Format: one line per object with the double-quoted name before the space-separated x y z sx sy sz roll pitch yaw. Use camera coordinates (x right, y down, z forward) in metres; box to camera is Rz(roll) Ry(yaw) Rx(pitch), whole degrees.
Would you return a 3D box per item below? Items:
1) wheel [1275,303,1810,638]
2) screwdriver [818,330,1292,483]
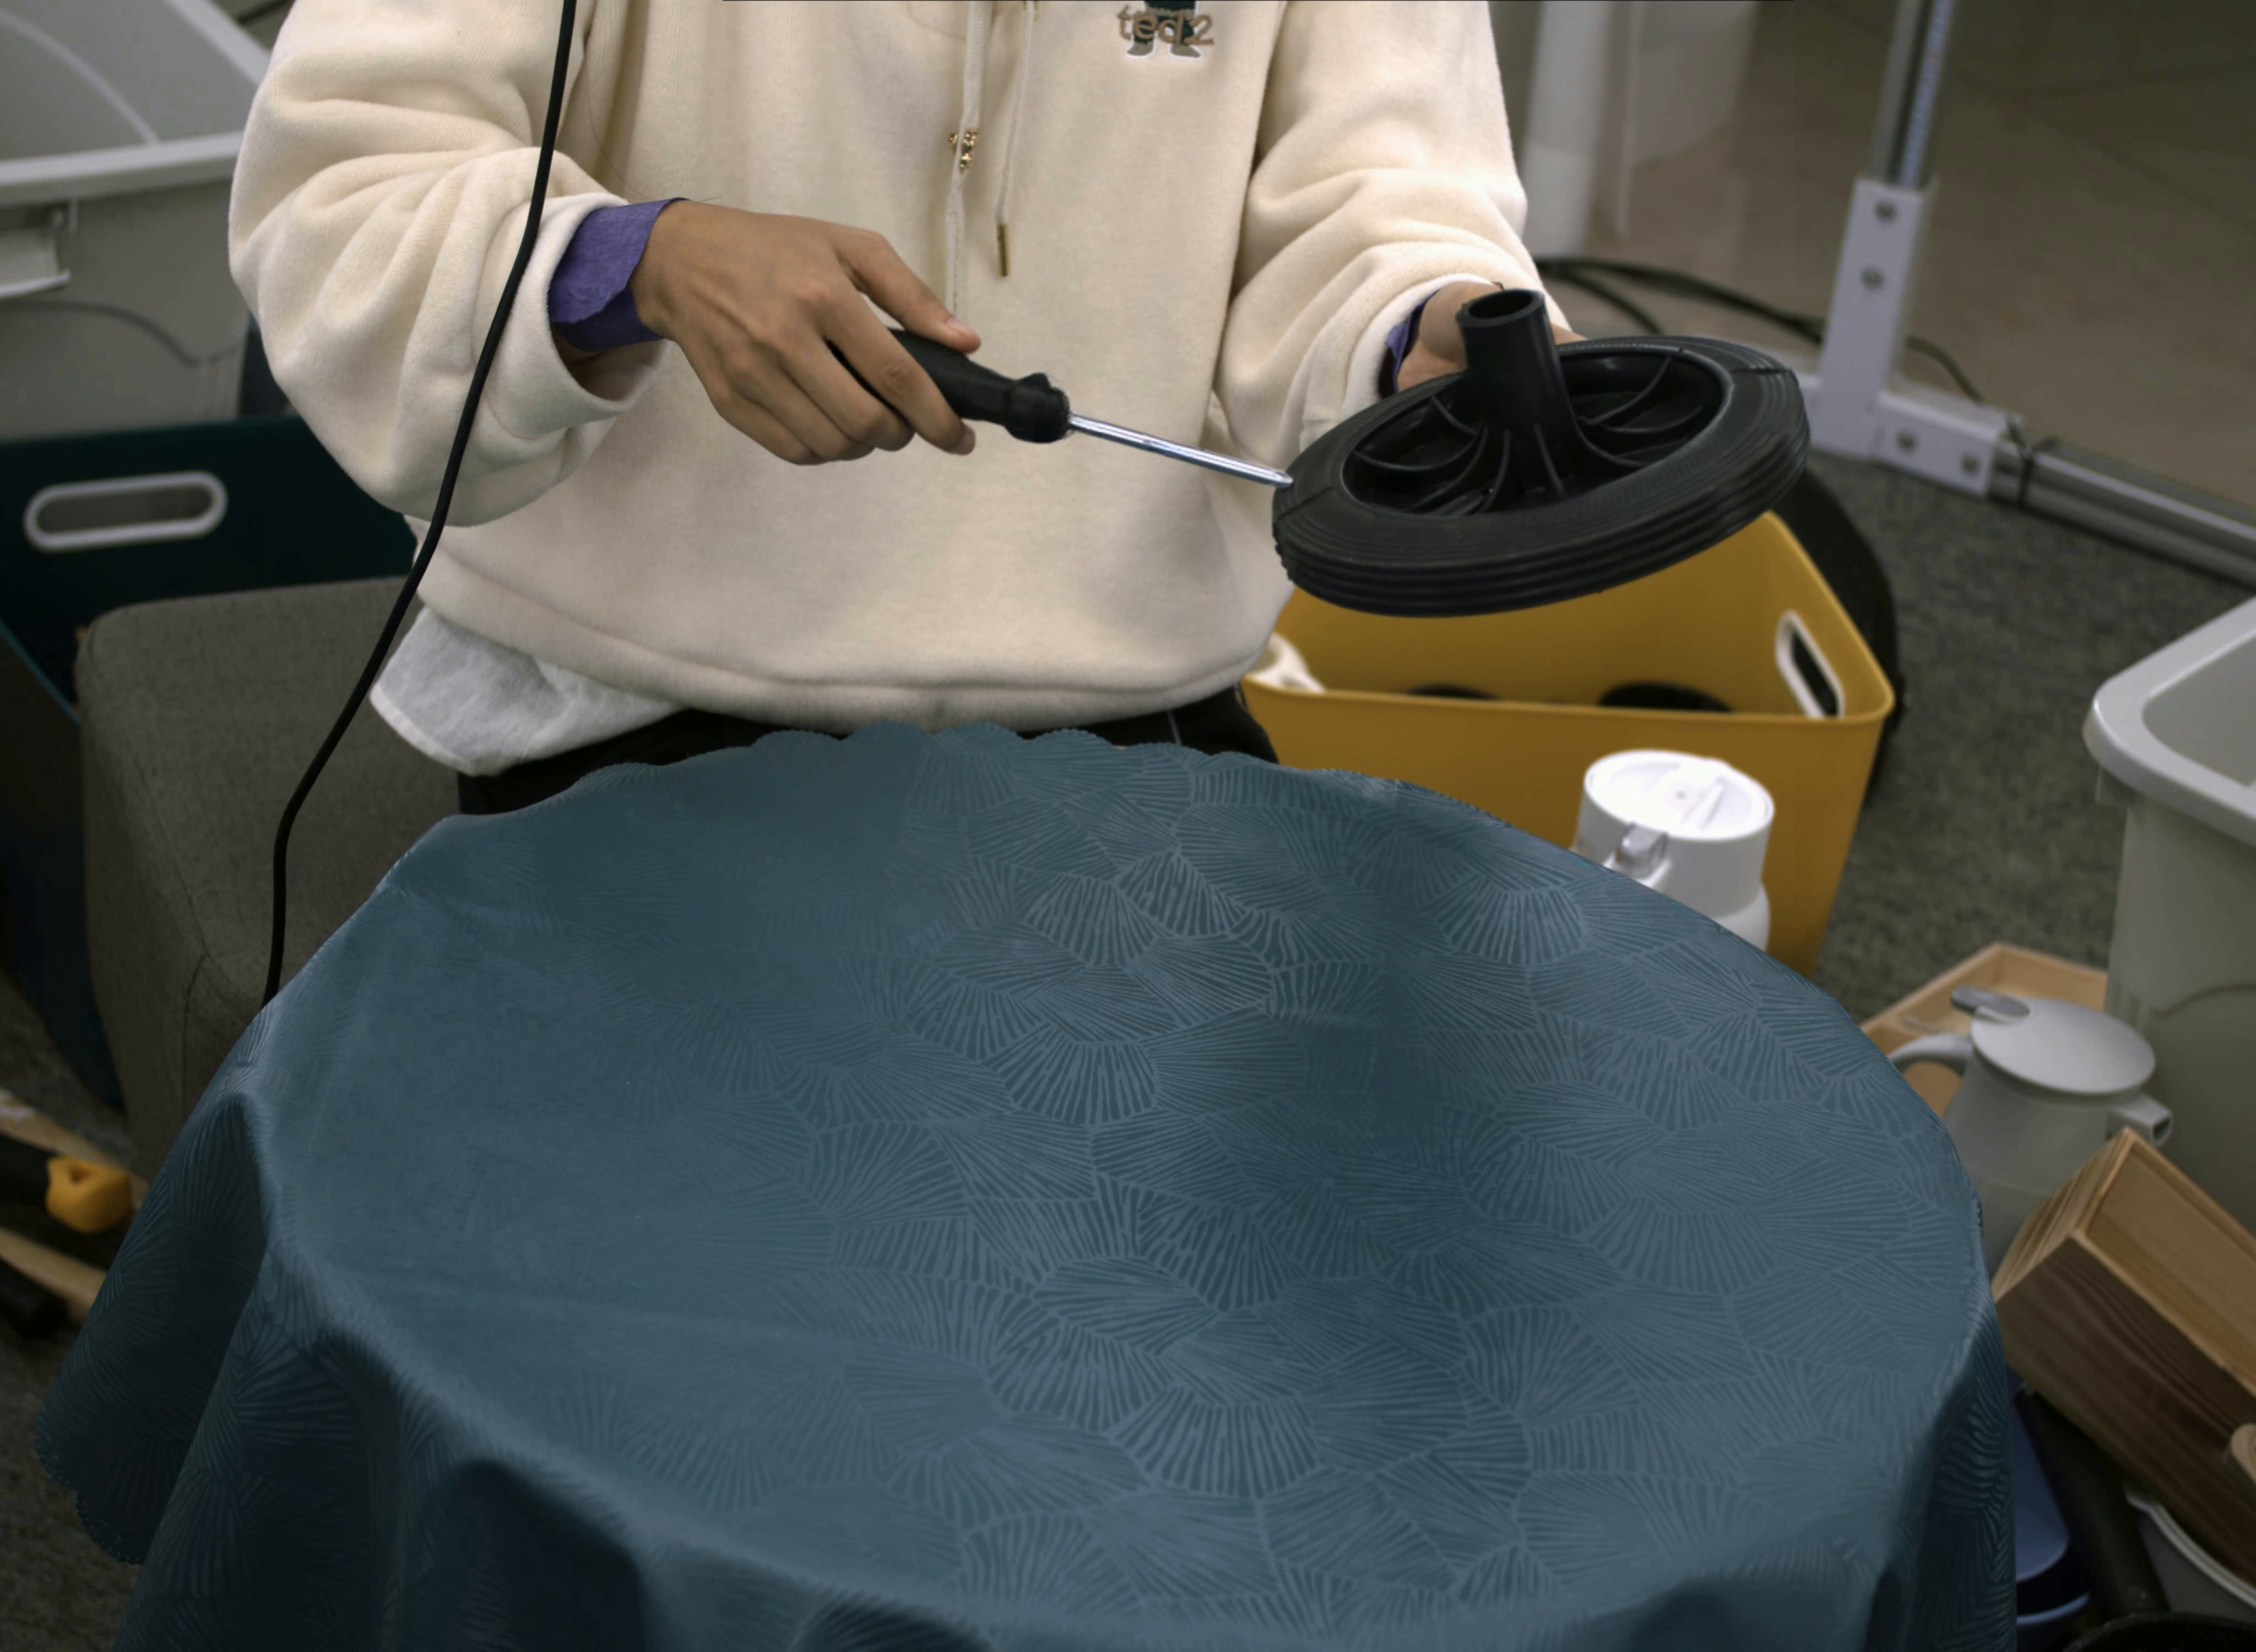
"wheel" 0.136 -0.137 1.827 0.188 0.079 0.190 0 31 31
"screwdriver" -0.026 -0.149 1.894 0.197 0.031 0.031 13 26 29
